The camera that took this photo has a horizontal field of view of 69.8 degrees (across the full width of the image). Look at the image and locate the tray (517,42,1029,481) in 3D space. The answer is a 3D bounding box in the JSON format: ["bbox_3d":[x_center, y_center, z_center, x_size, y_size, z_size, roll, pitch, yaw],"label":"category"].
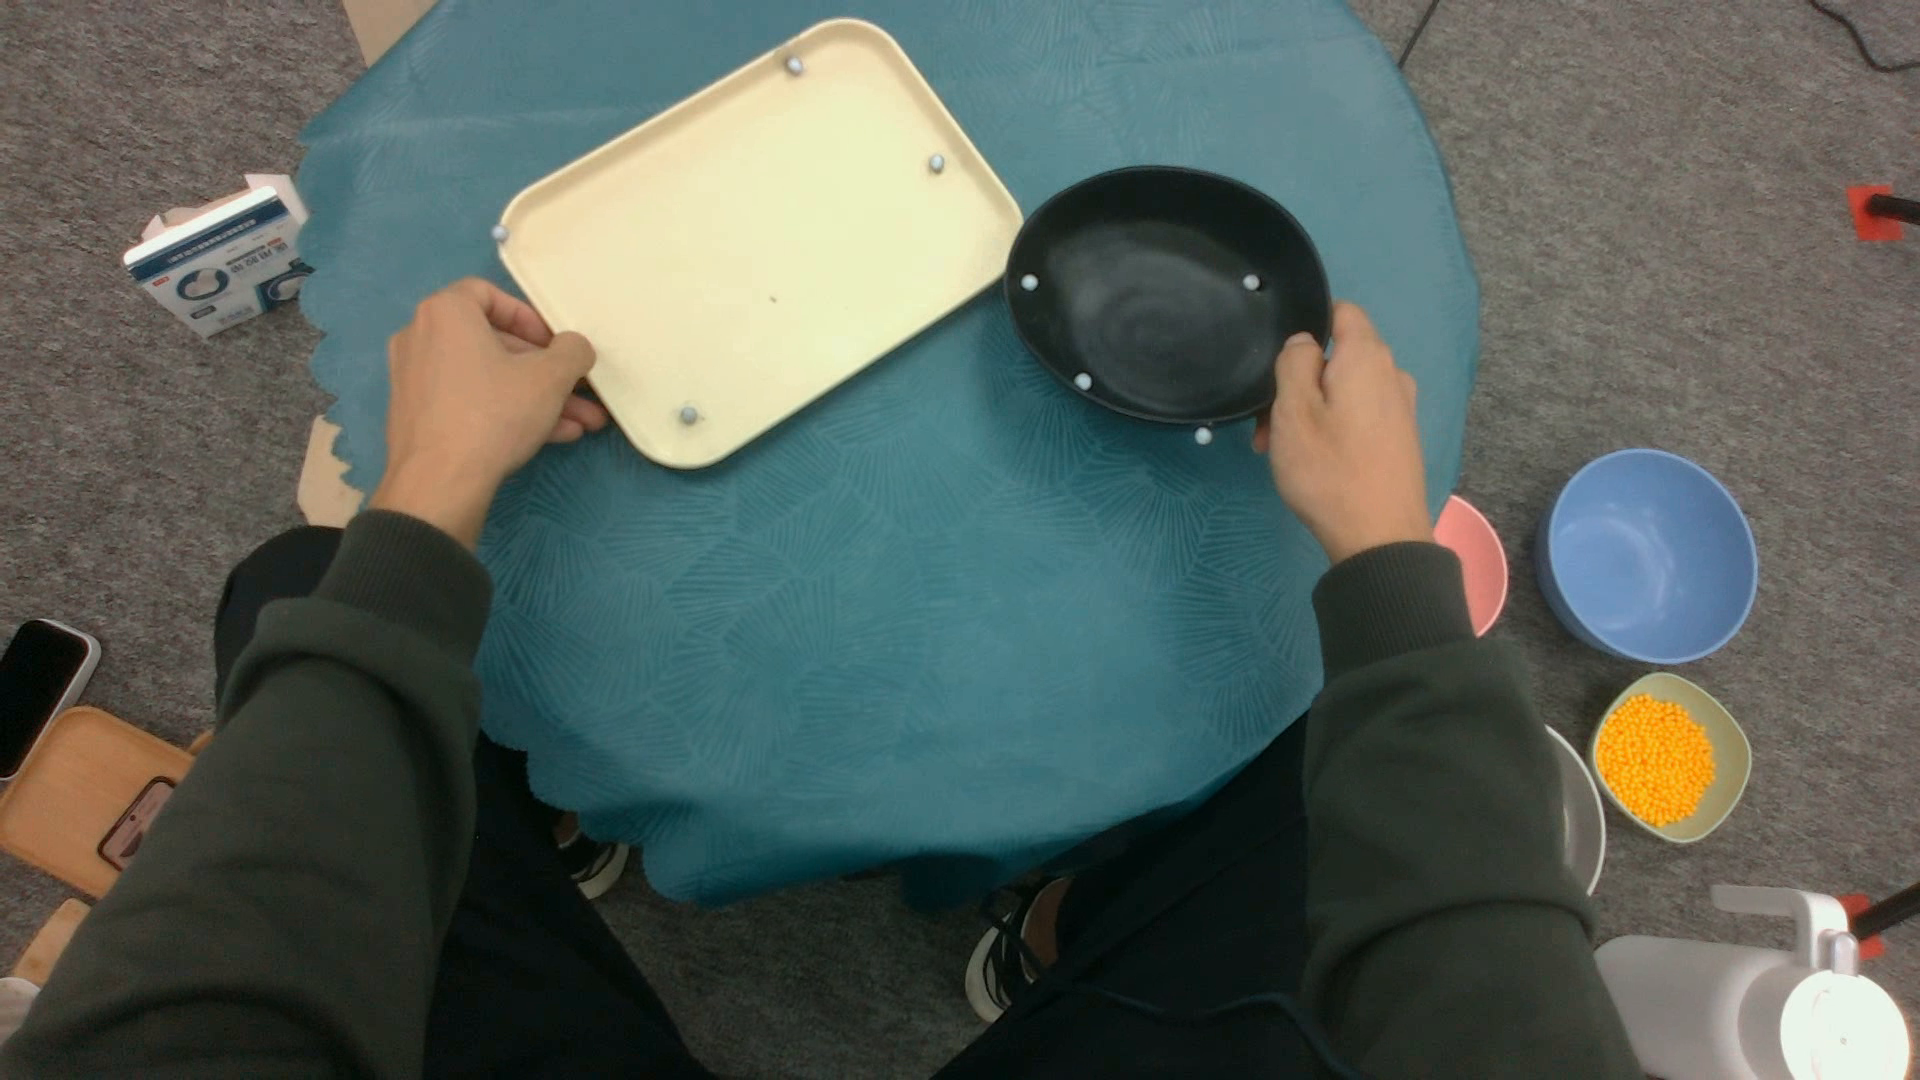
[{"bbox_3d":[-0.095,-0.151,0.730,0.240,0.017,0.171,-35,84,-14],"label":"tray"}]

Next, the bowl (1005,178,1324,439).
[{"bbox_3d":[0.103,-0.110,0.710,0.170,0.066,0.137,28,77,21],"label":"bowl"}]
